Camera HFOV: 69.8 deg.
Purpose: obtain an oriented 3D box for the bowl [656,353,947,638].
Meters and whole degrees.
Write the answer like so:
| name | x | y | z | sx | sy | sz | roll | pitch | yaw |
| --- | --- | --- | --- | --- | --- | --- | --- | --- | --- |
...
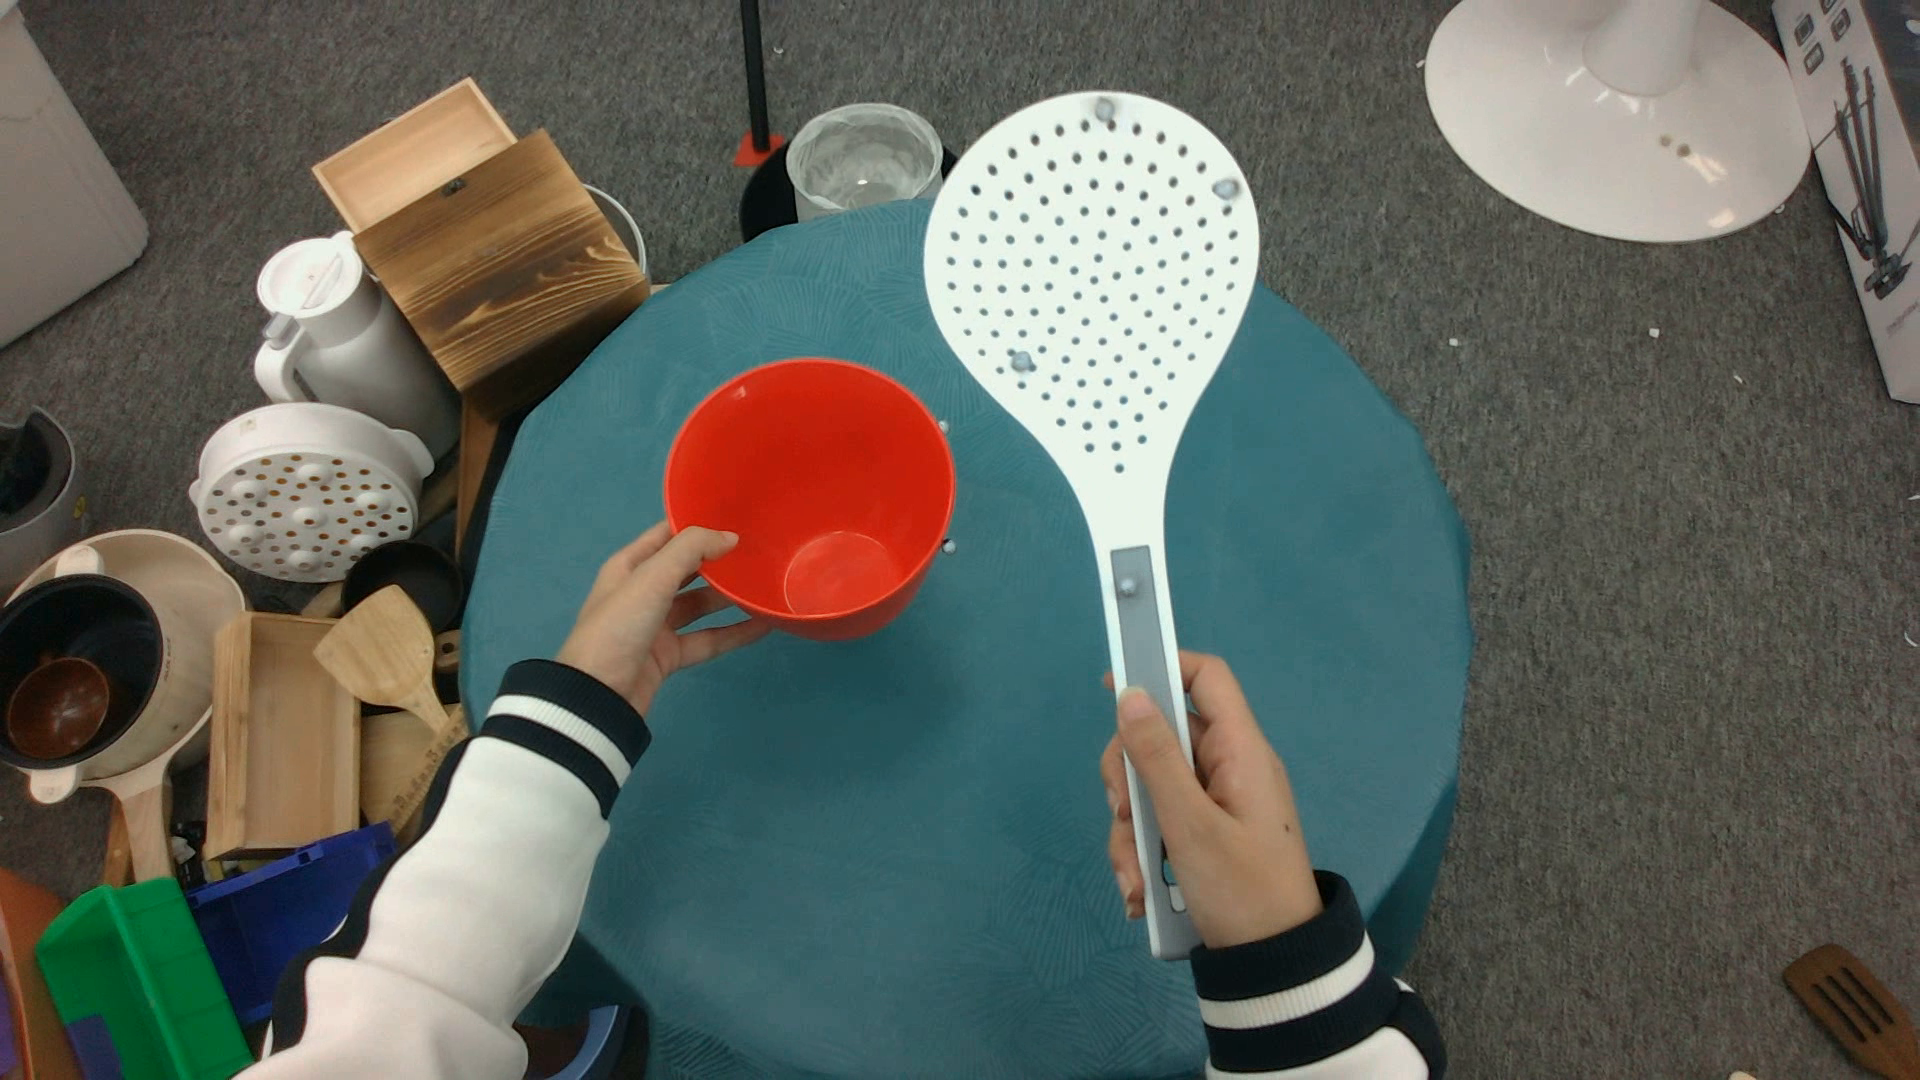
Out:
| name | x | y | z | sx | sy | sz | roll | pitch | yaw |
| --- | --- | --- | --- | --- | --- | --- | --- | --- | --- |
| bowl | -0.080 | -0.011 | 0.736 | 0.148 | 0.104 | 0.148 | 0 | 57 | 0 |

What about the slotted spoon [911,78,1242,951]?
| name | x | y | z | sx | sy | sz | roll | pitch | yaw |
| --- | --- | --- | --- | --- | --- | --- | --- | --- | --- |
| slotted spoon | 0.061 | -0.016 | 0.552 | 0.136 | 0.045 | 0.350 | -9 | 77 | 10 |
